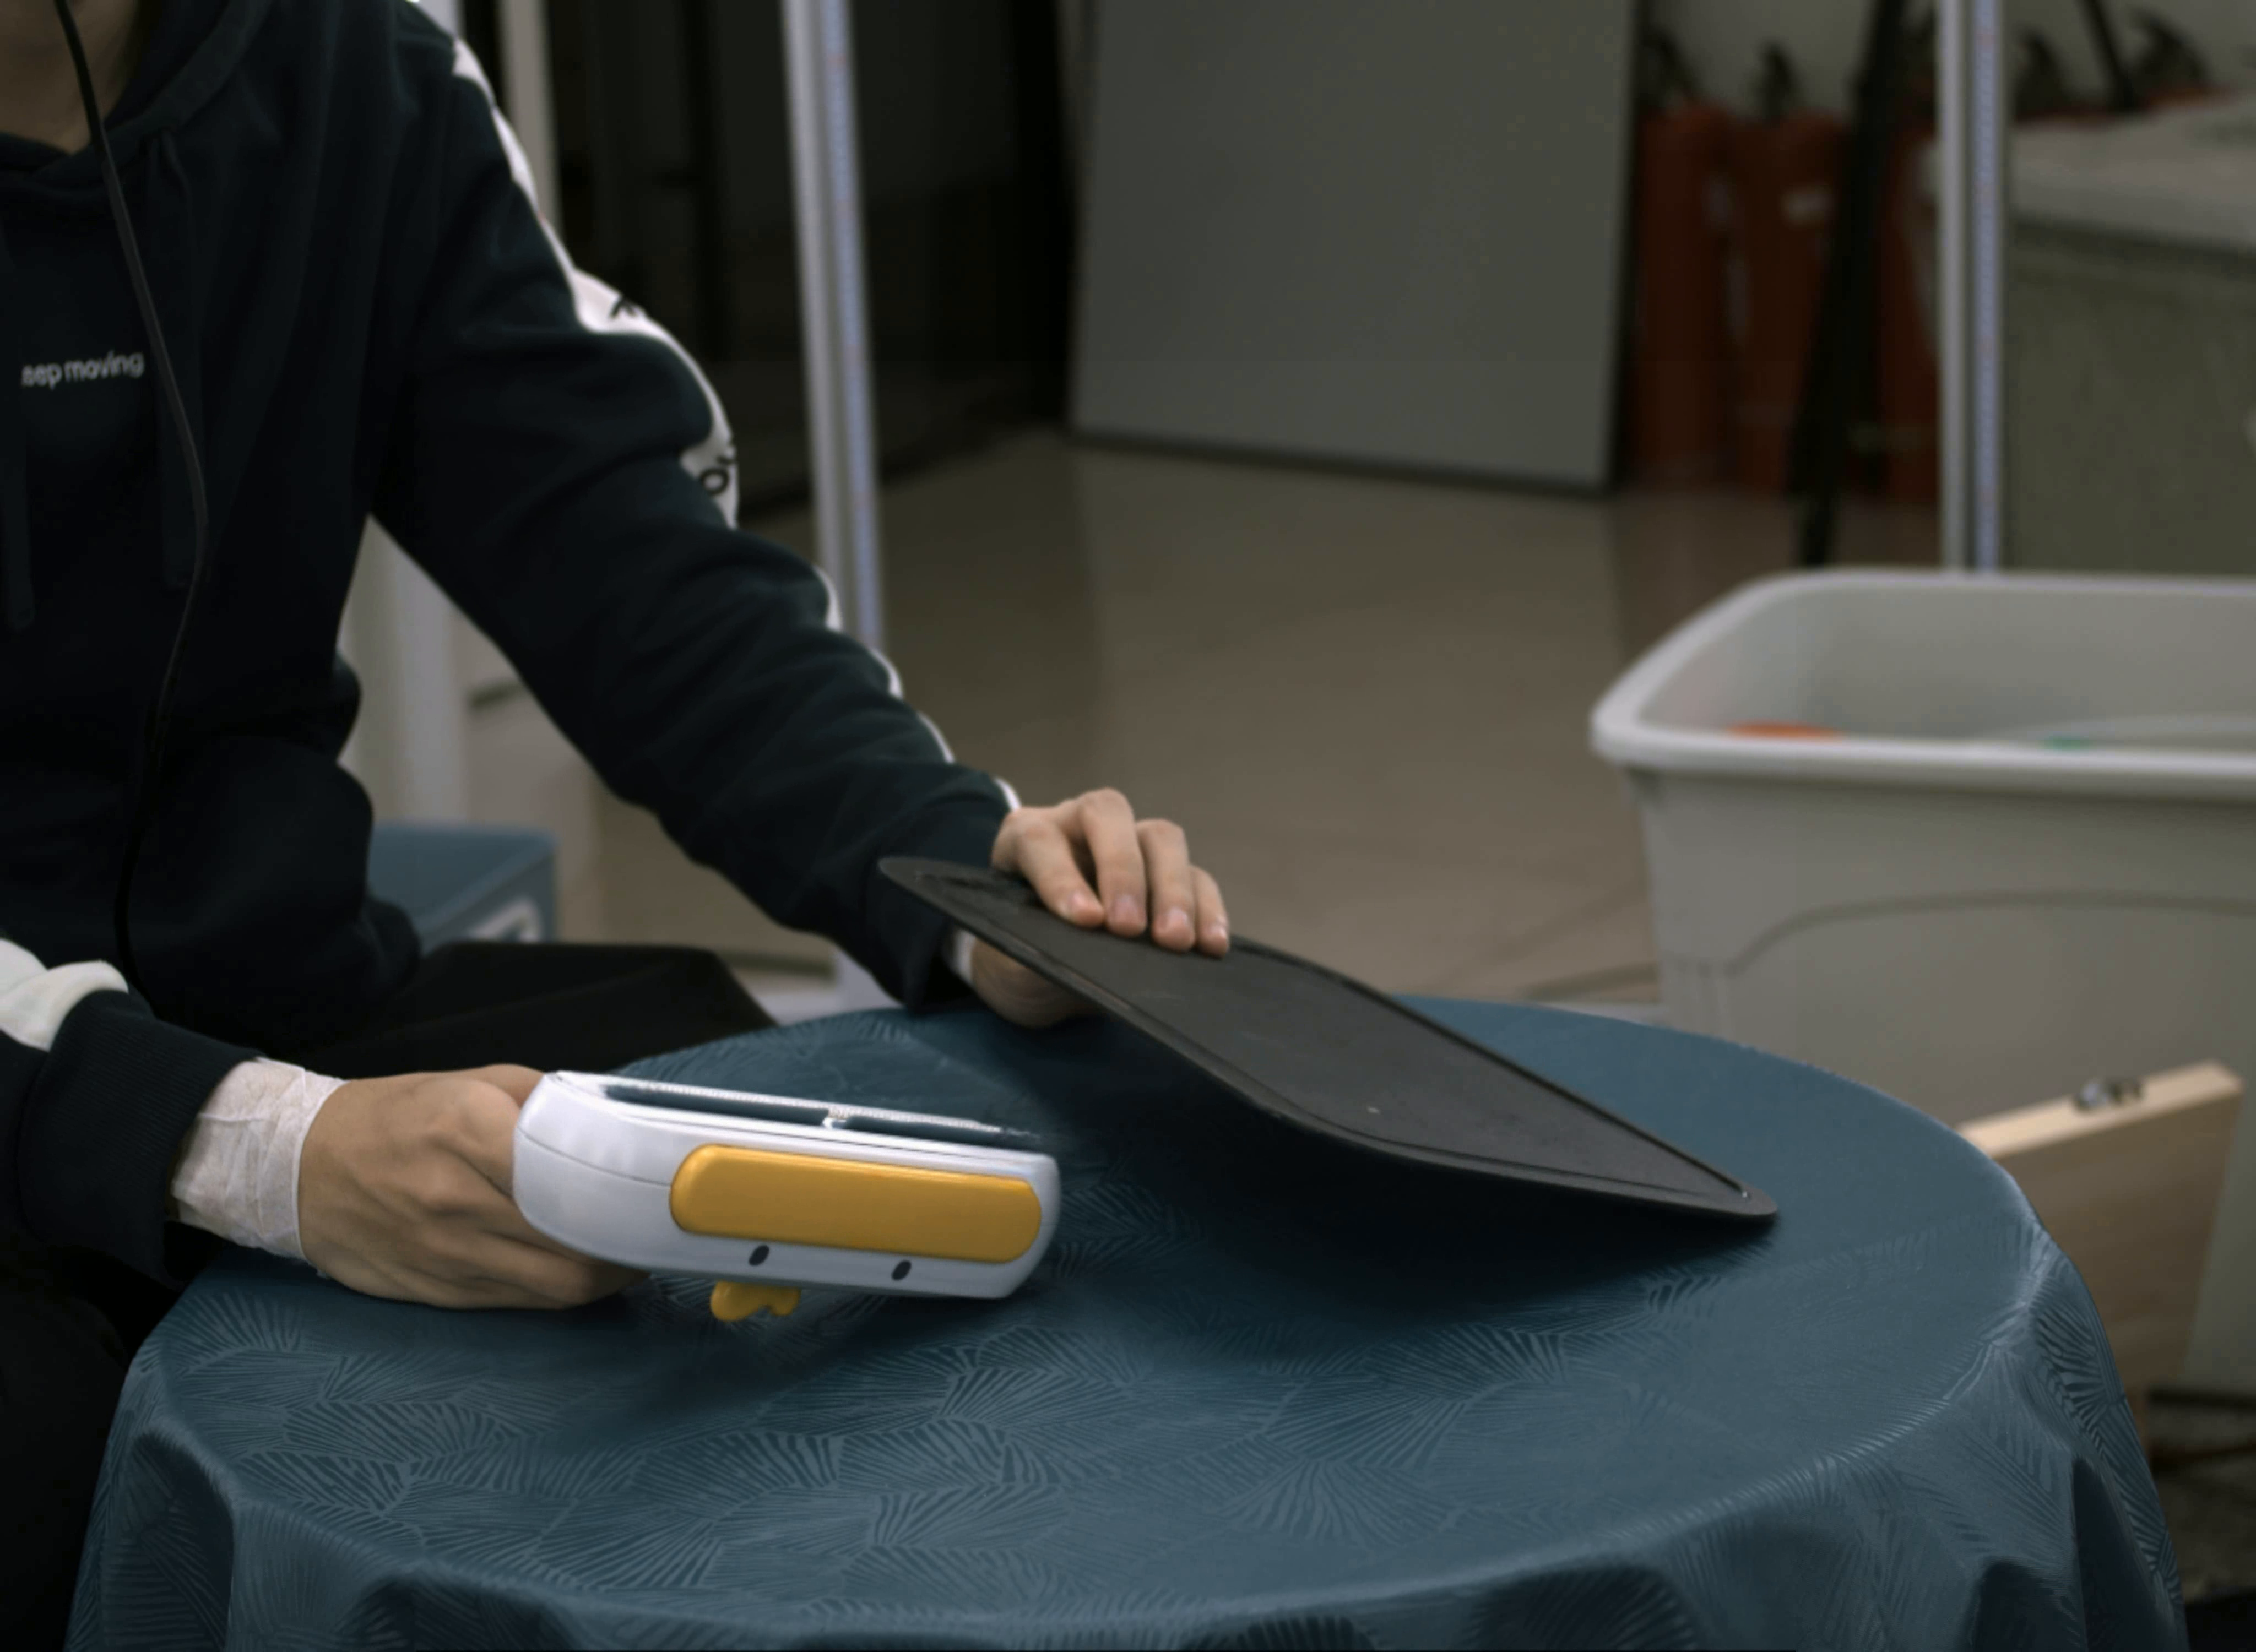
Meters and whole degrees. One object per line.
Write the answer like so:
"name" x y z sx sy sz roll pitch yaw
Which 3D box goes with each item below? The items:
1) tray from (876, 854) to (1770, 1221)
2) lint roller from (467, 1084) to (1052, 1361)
"tray" 0.054 0.063 1.767 0.206 0.010 0.329 13 9 -34
"lint roller" -0.143 0.129 1.674 0.188 0.075 0.194 7 -13 -36
